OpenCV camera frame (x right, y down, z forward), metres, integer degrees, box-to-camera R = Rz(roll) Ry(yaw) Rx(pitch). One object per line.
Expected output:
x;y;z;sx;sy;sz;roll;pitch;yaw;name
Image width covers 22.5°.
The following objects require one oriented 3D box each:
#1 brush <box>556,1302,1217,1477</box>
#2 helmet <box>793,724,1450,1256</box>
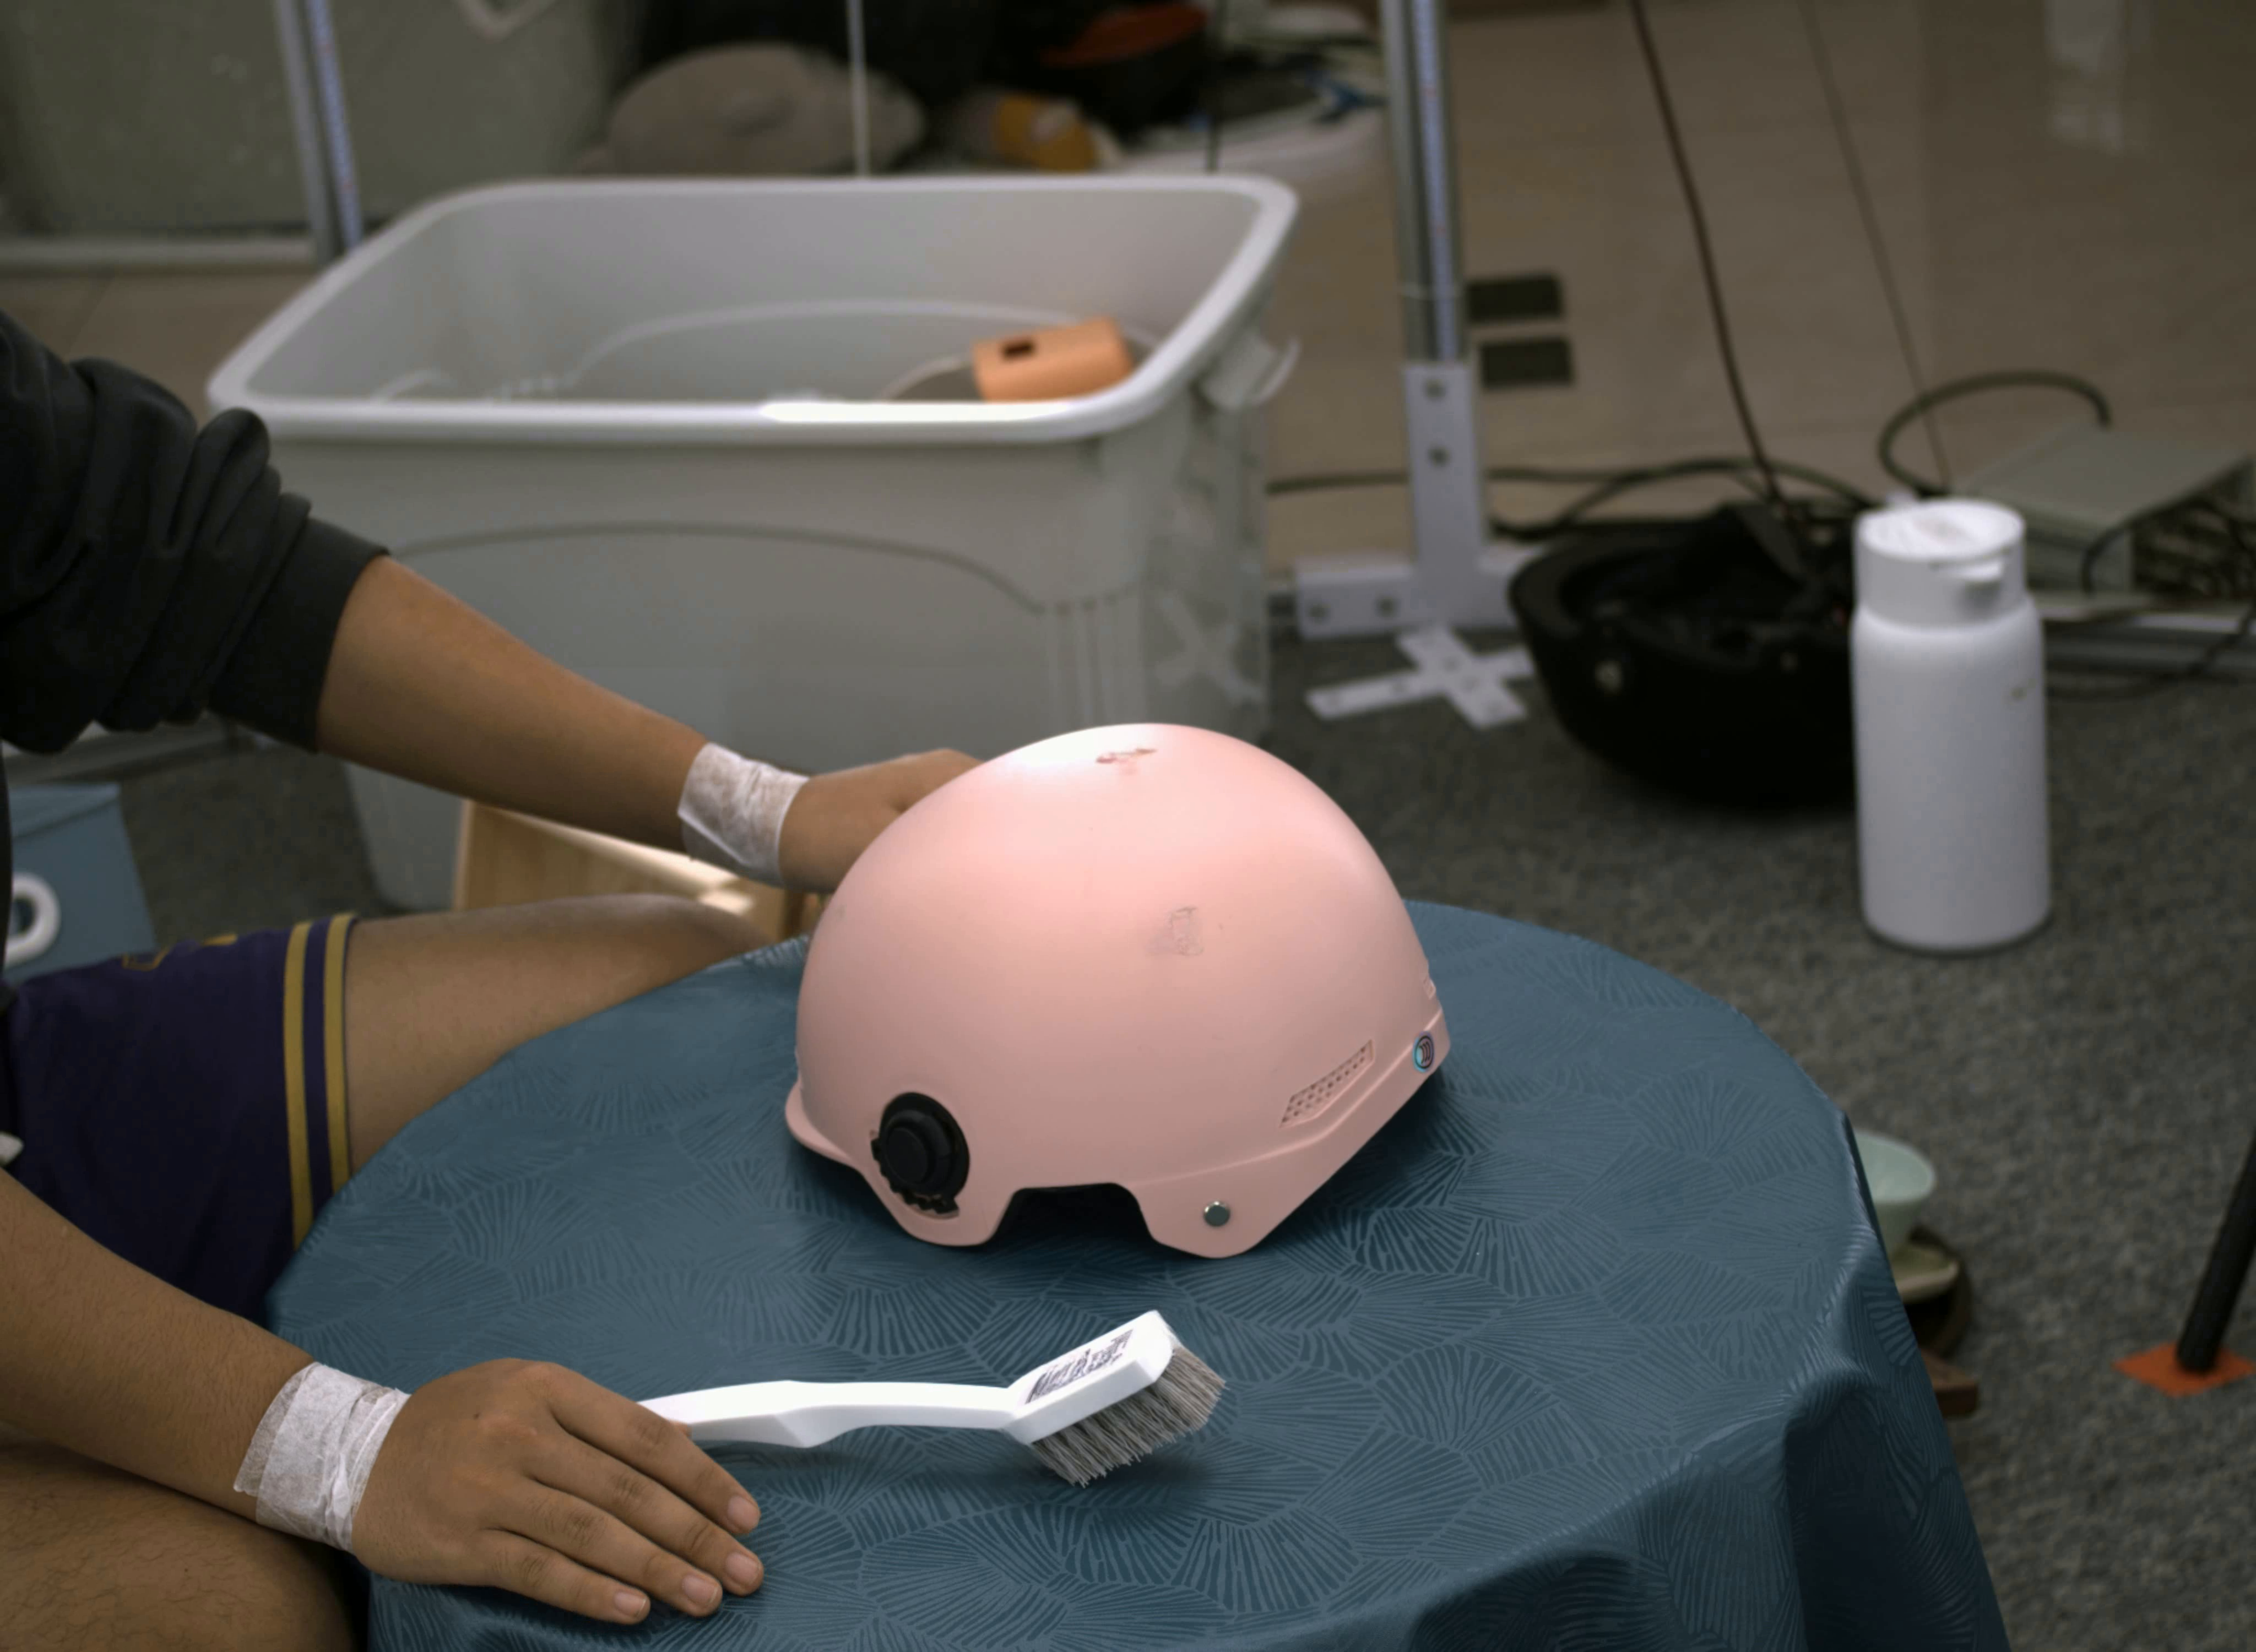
-0.085;0.213;1.983;0.244;0.051;0.034;-13;26;20;brush
-0.014;0.047;2.169;0.265;0.161;0.231;2;27;28;helmet
